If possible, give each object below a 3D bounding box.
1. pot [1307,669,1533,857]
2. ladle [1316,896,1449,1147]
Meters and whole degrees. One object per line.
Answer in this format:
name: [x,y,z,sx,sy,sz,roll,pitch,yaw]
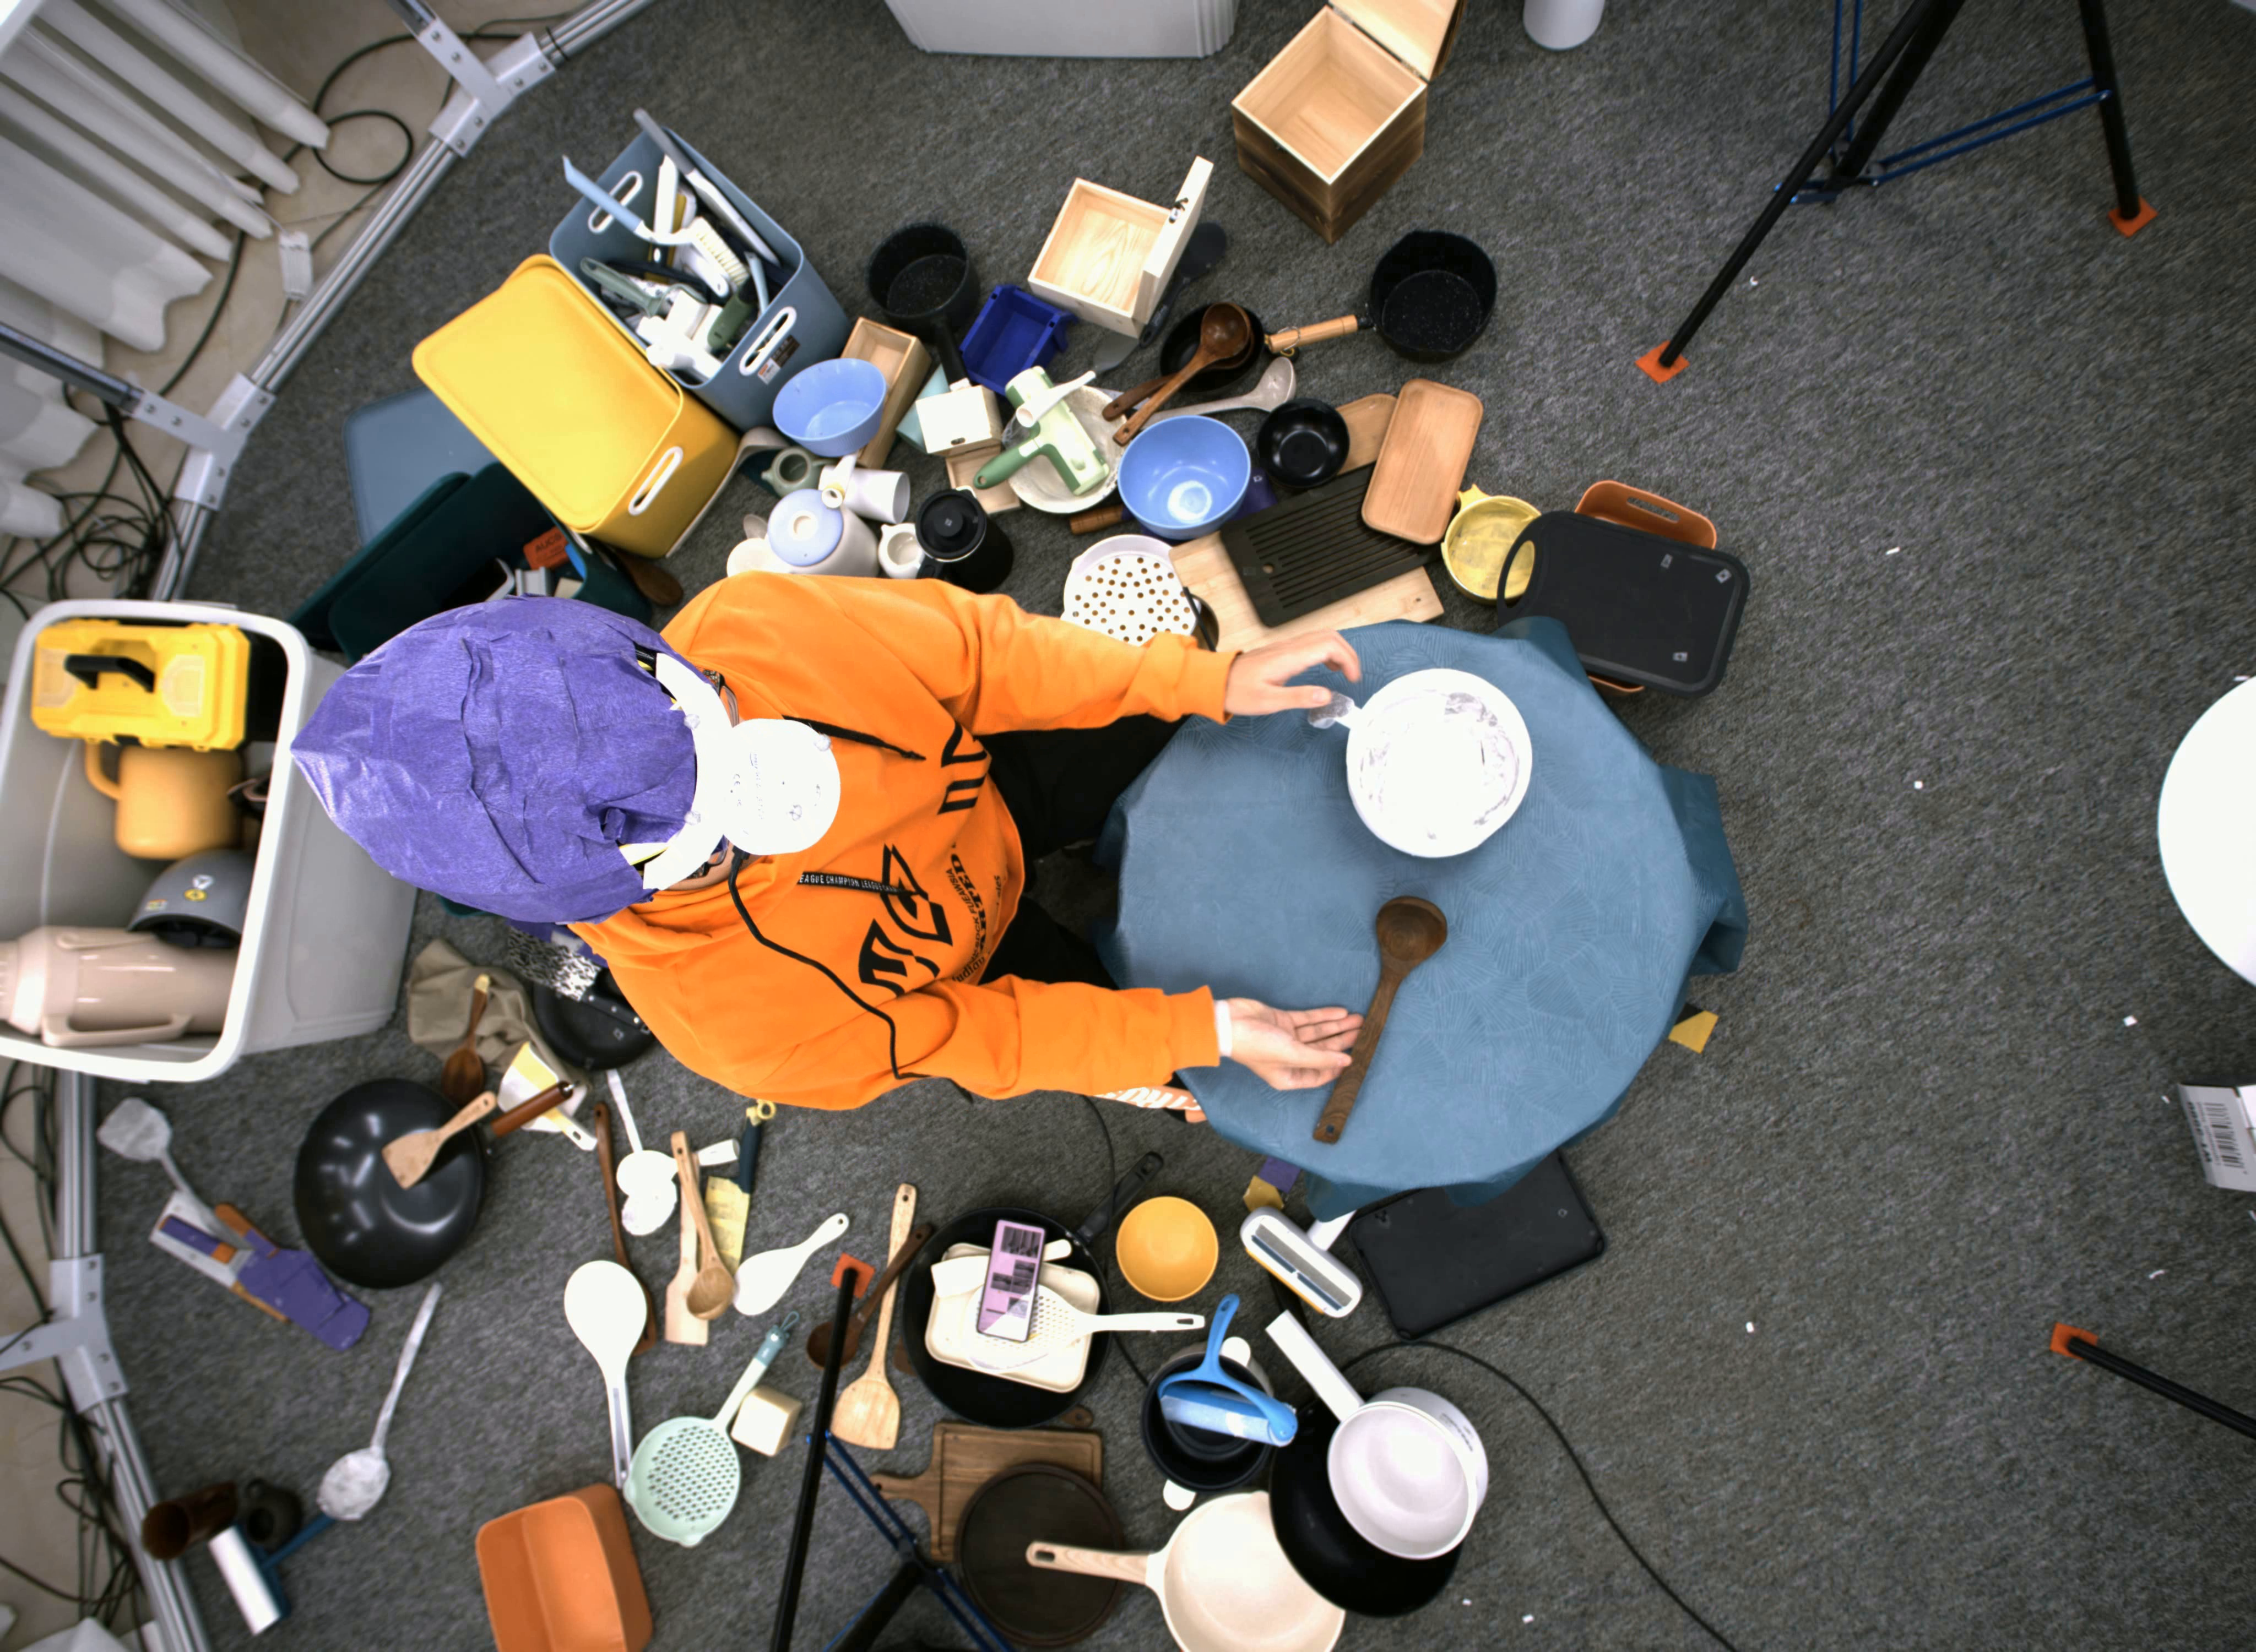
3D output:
pot: [0.287,-0.074,1.395,0.233,0.137,0.179,29,91,11]
ladle: [0.253,0.202,1.420,0.076,0.071,0.274,23,90,14]
